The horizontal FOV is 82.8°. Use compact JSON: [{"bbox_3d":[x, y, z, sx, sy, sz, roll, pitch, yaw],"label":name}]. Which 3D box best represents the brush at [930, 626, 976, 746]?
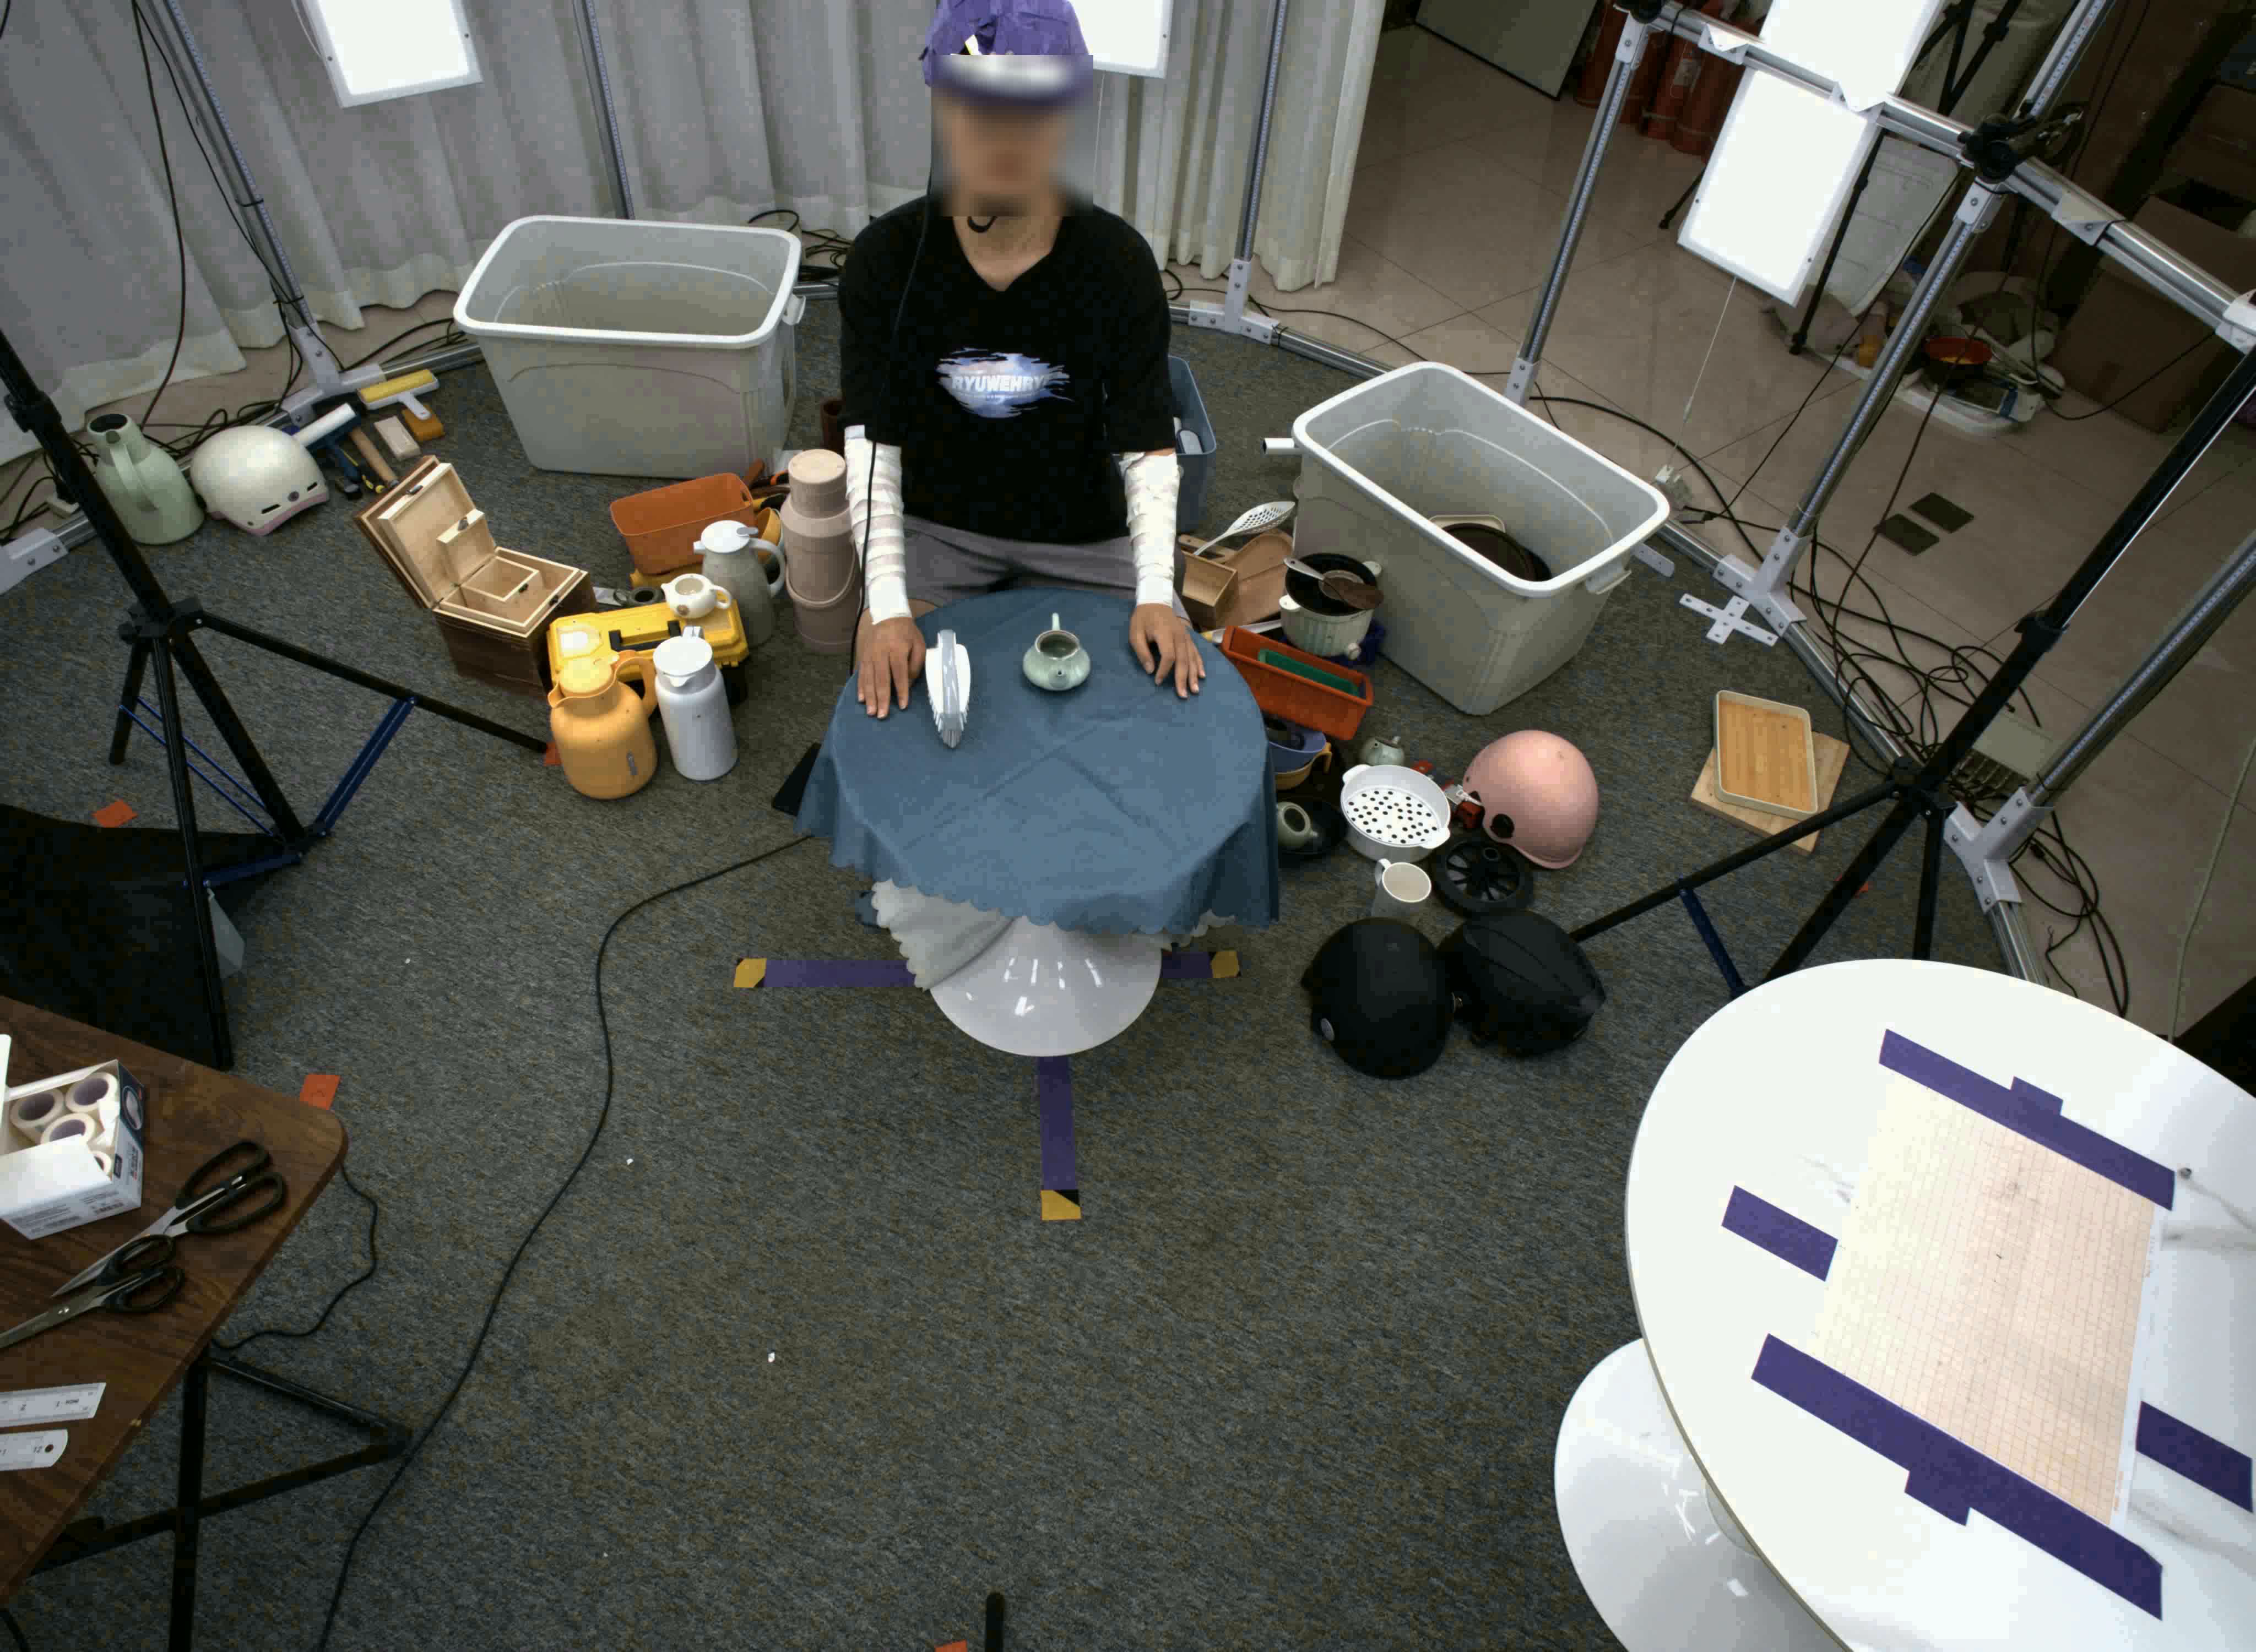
[{"bbox_3d":[-0.242,-0.202,1.774,0.061,0.092,0.180,-5,52,-4],"label":"brush"}]

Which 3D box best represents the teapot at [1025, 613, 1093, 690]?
[{"bbox_3d":[-0.099,-0.245,1.838,0.096,0.060,0.140,-5,50,-5],"label":"teapot"}]
